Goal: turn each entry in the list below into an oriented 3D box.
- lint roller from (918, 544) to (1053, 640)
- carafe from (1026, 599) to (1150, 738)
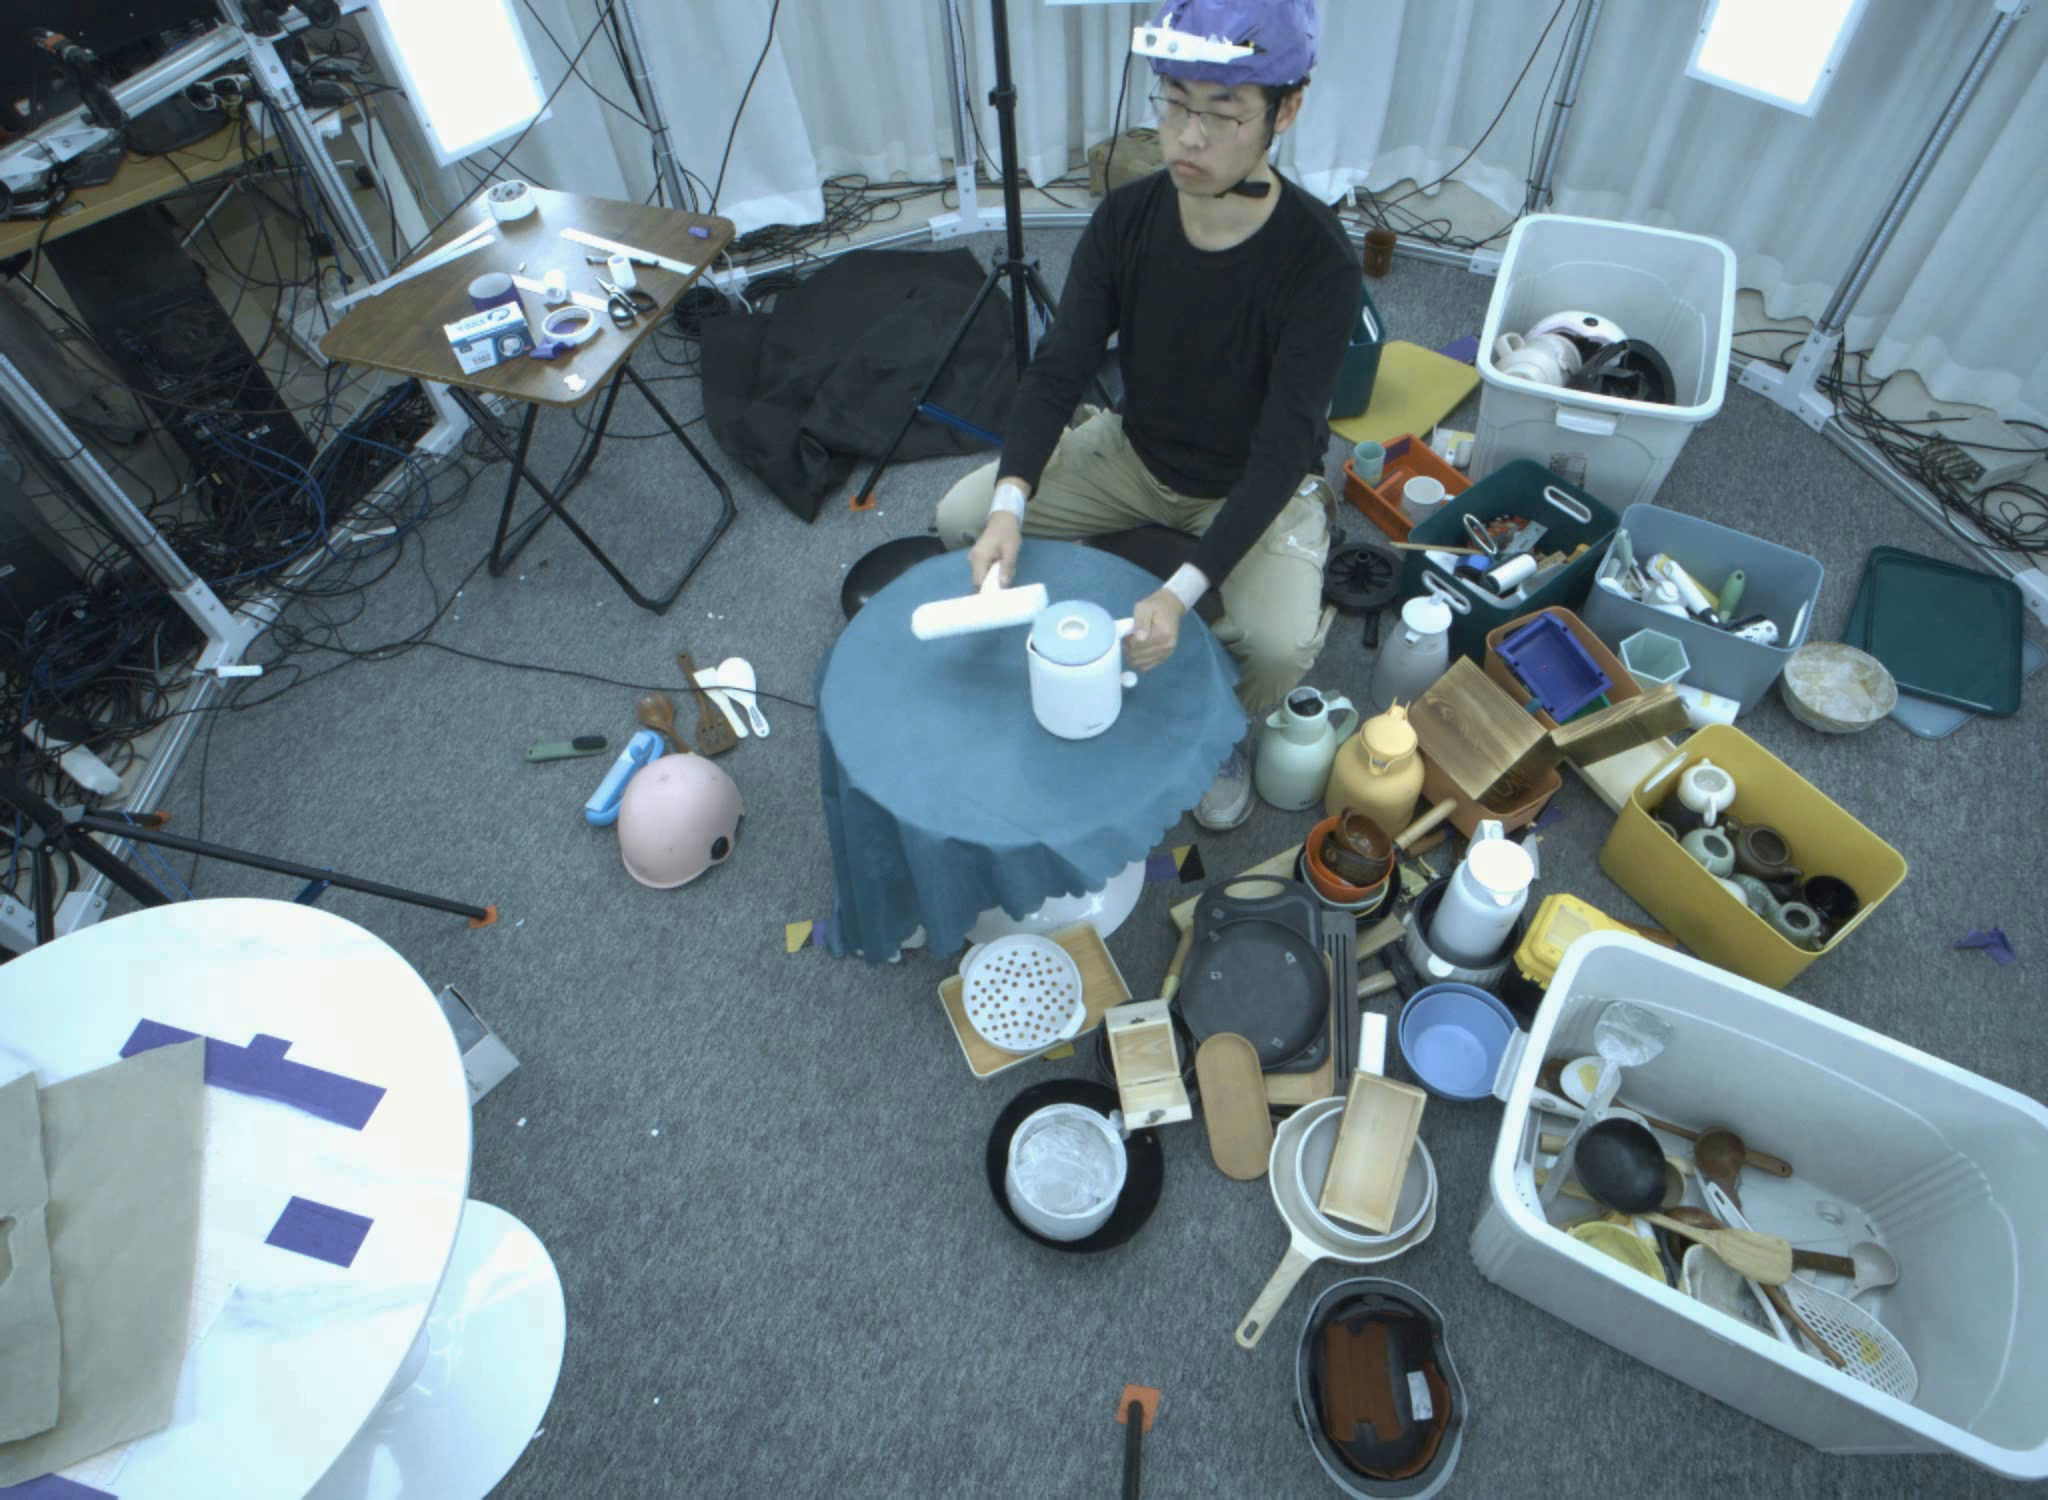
[{"bbox_3d":[-0.048,-0.258,1.860,0.200,0.049,0.224,-9,38,17],"label":"lint roller"},{"bbox_3d":[0.095,-0.123,1.766,0.192,0.184,0.130,-19,56,-12],"label":"carafe"}]
